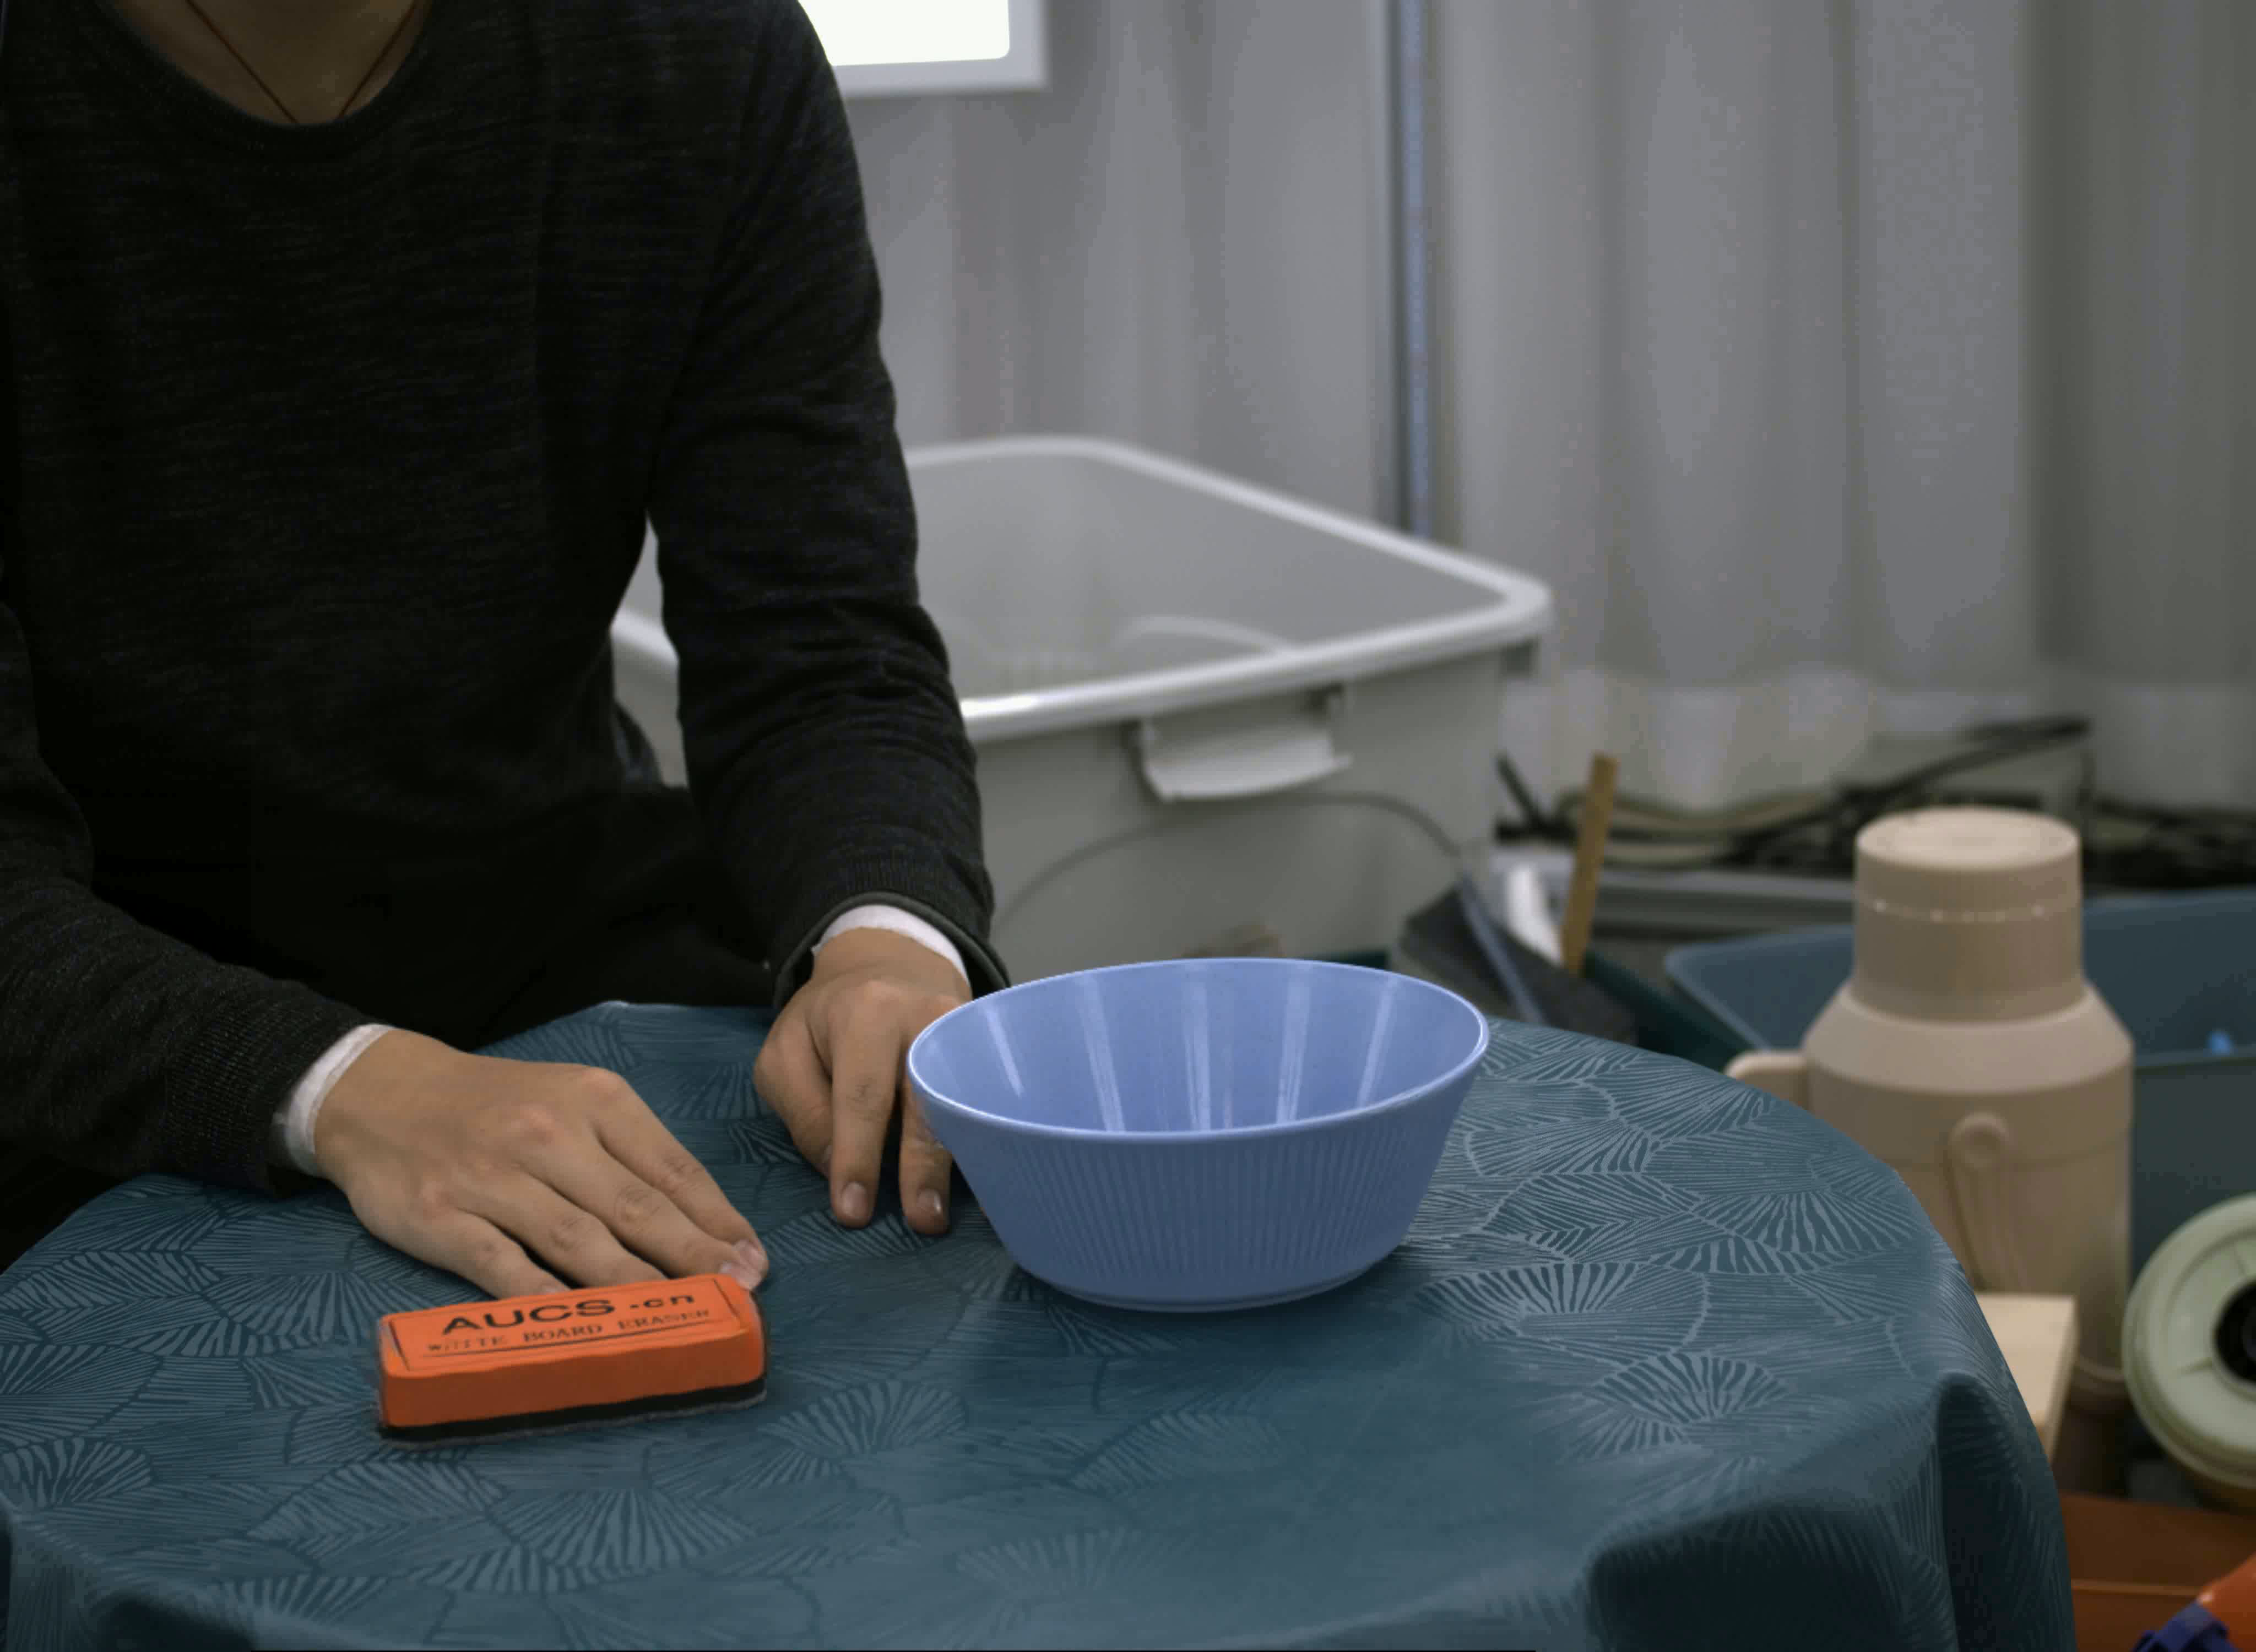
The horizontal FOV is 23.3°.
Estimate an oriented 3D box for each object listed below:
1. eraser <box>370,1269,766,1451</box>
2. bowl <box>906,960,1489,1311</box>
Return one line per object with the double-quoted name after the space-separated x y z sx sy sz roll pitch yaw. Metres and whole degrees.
-0.160 0.152 1.557 0.107 0.023 0.059 -7 18 -11 "eraser"
0.022 0.096 1.647 0.175 0.070 0.177 -3 15 1 "bowl"
